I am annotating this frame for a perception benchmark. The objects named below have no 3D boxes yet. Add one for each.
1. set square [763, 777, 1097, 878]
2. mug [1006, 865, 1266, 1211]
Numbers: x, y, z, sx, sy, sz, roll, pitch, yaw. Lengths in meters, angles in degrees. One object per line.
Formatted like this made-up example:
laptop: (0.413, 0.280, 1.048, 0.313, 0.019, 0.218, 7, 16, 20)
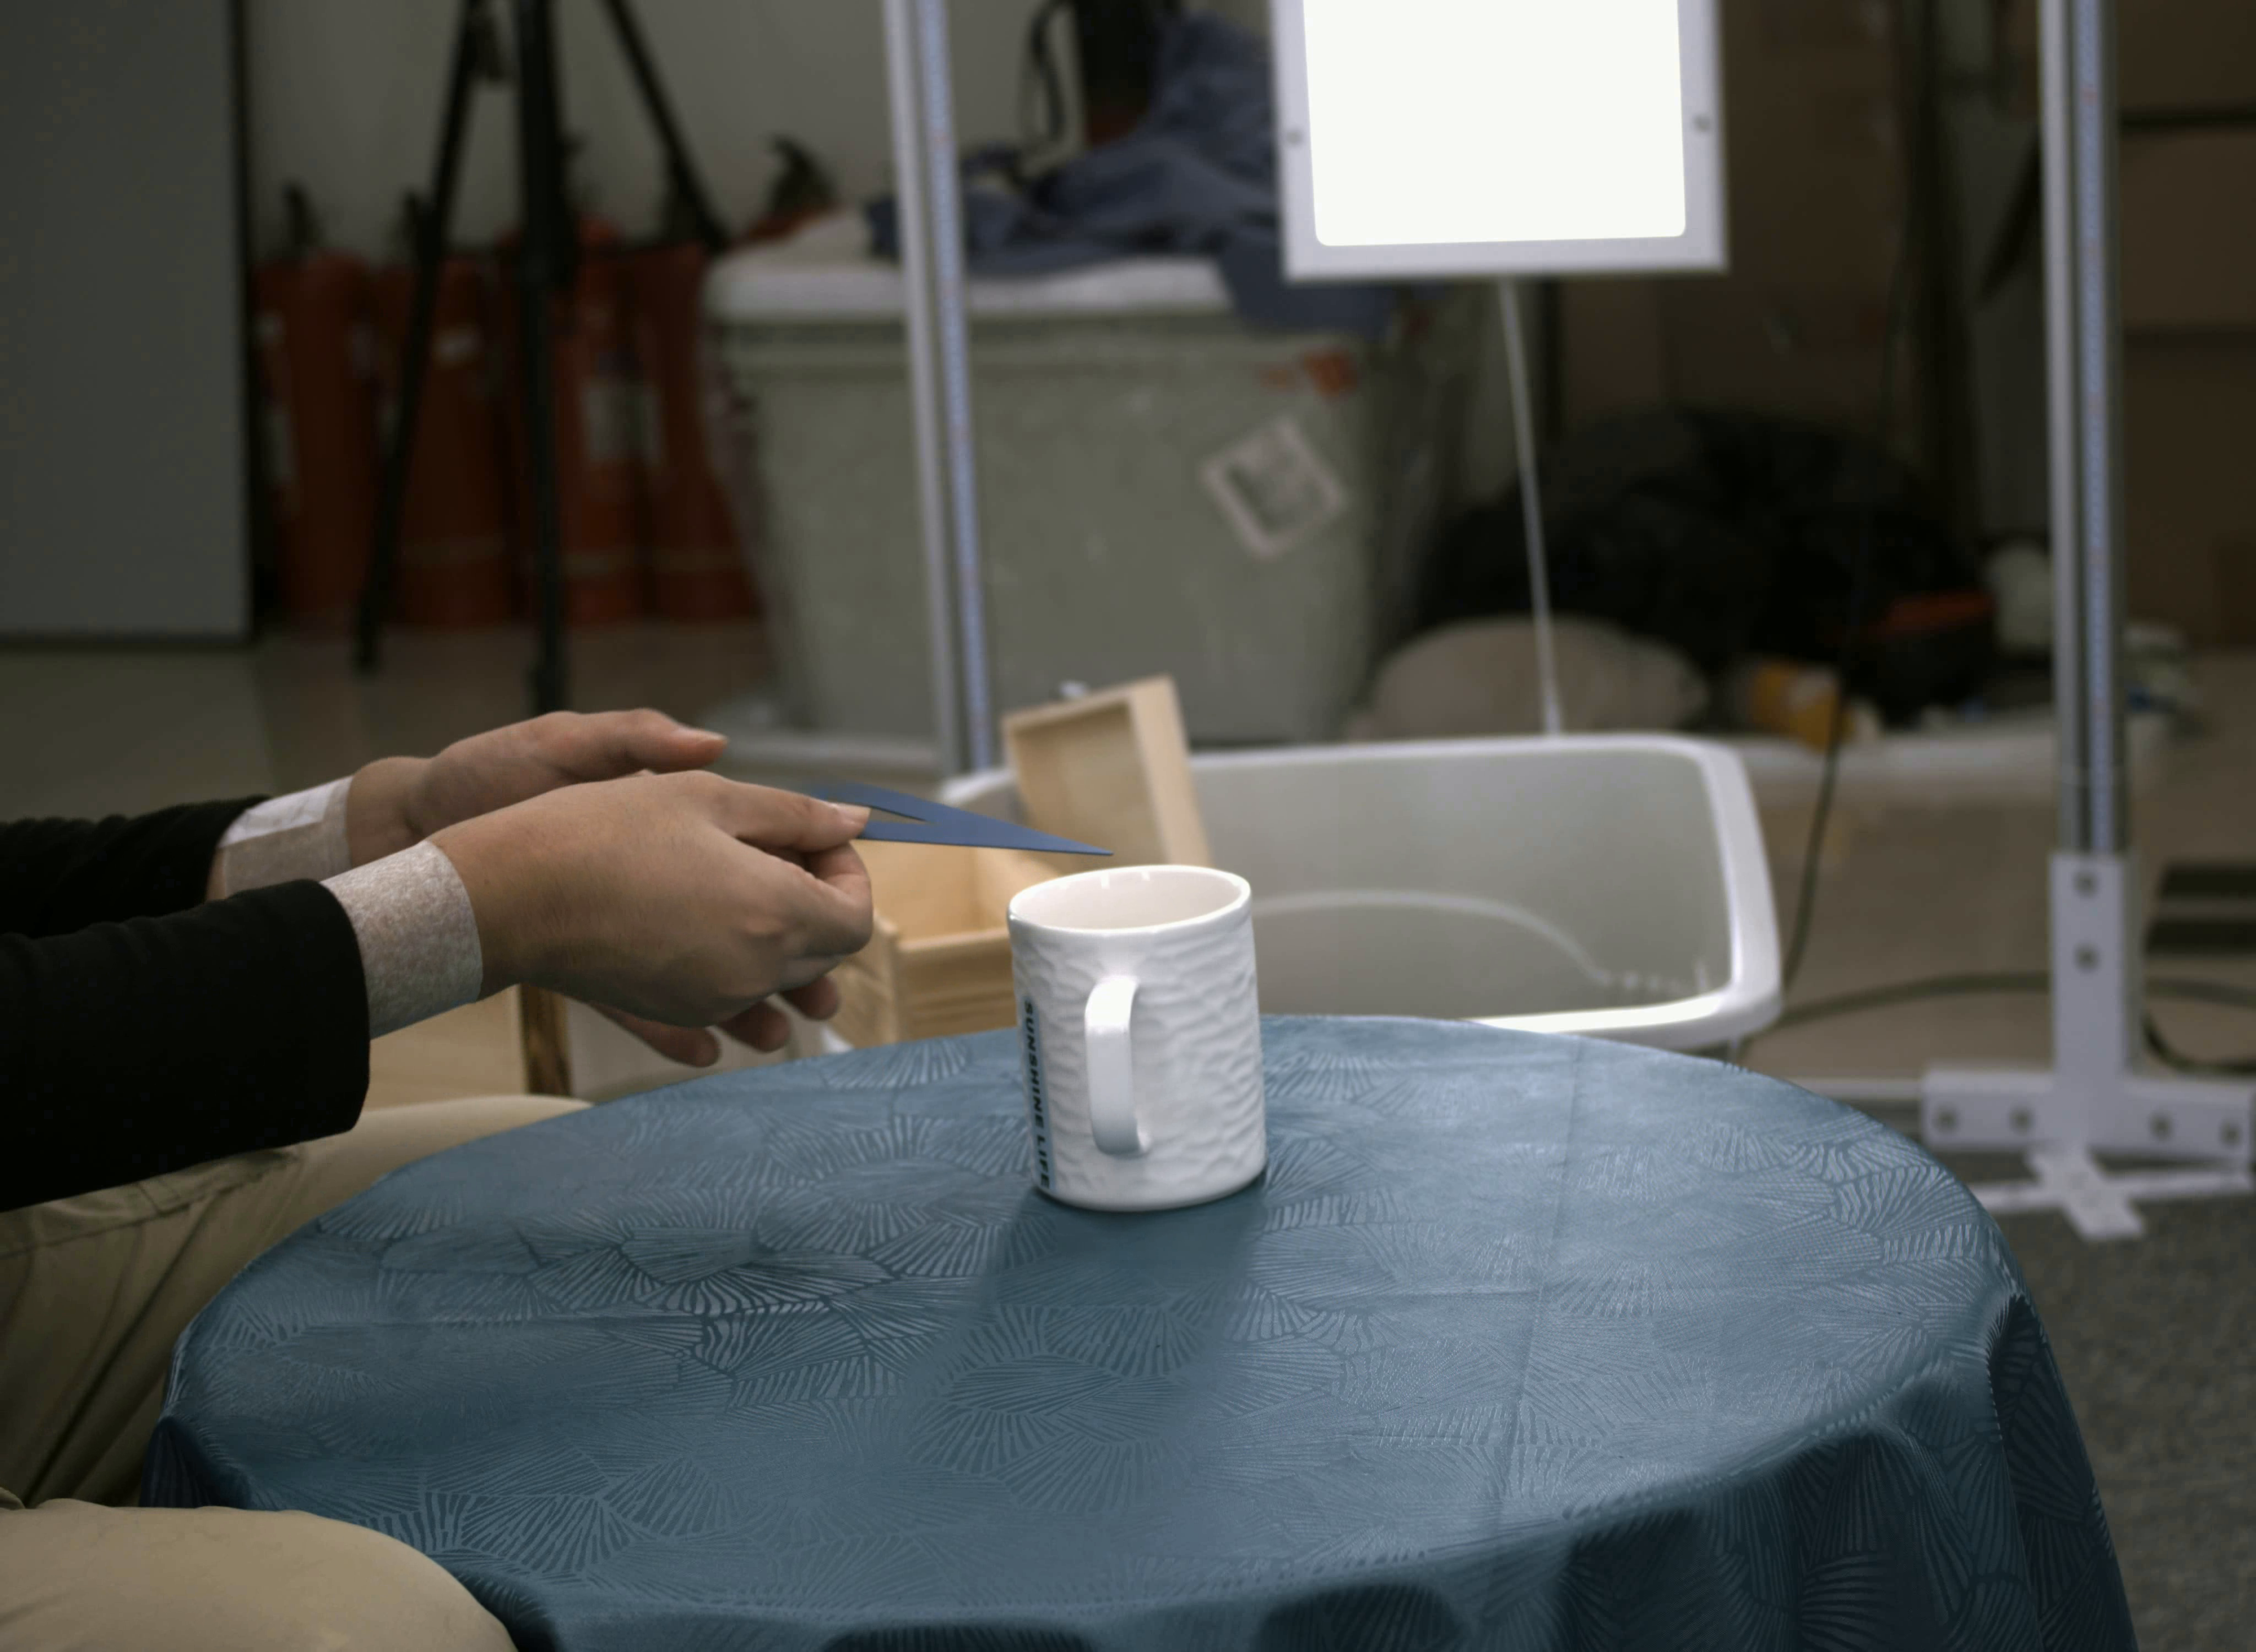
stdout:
set square: (-0.075, 0.004, 1.842, 0.134, 0.006, 0.059, 18, 24, 38)
mug: (0.002, 0.077, 1.884, 0.085, 0.102, 0.117, -2, 14, 9)
